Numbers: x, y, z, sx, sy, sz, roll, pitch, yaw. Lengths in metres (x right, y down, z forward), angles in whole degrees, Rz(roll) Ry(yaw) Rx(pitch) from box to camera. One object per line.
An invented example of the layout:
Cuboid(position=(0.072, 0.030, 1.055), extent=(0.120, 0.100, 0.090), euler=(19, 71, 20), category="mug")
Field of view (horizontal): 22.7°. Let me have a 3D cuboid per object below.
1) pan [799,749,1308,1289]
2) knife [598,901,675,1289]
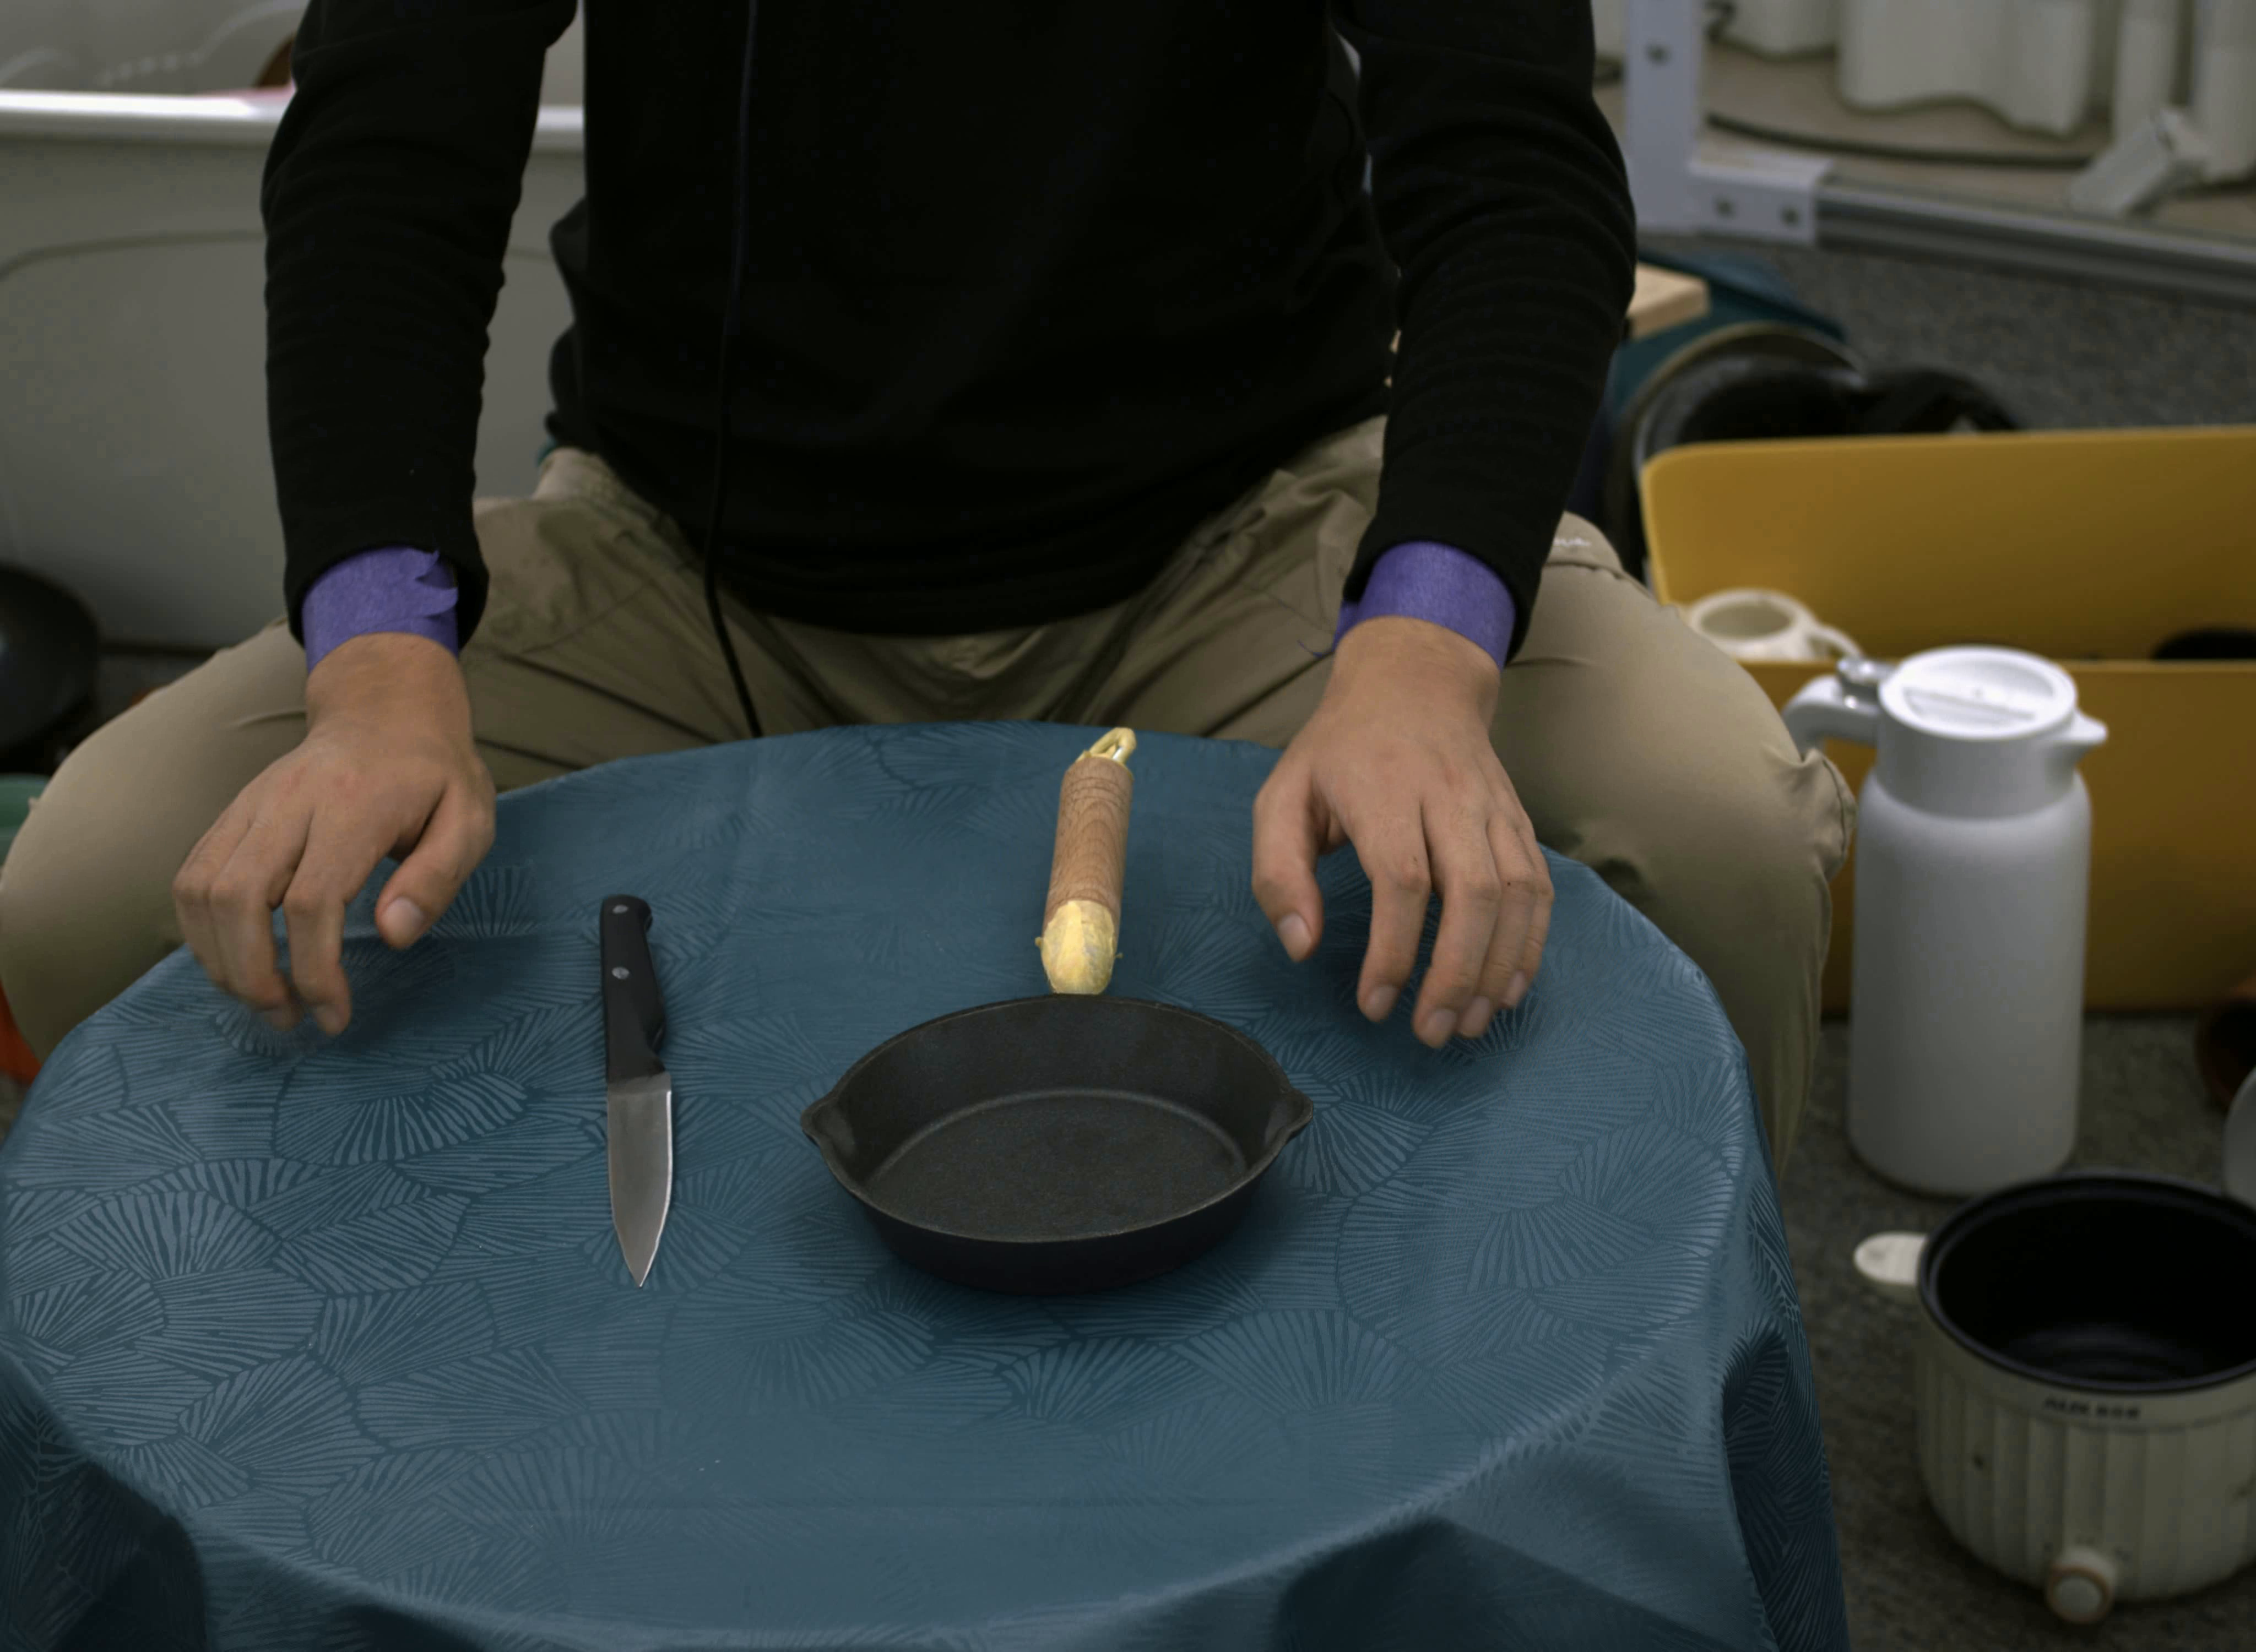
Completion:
Cuboid(position=(-0.017, 0.063, 1.924), extent=(0.168, 0.049, 0.329), euler=(0, 27, 6), category="pan")
Cuboid(position=(-0.170, 0.091, 1.923), extent=(0.024, 0.016, 0.241), euler=(-4, 30, -5), category="knife")
